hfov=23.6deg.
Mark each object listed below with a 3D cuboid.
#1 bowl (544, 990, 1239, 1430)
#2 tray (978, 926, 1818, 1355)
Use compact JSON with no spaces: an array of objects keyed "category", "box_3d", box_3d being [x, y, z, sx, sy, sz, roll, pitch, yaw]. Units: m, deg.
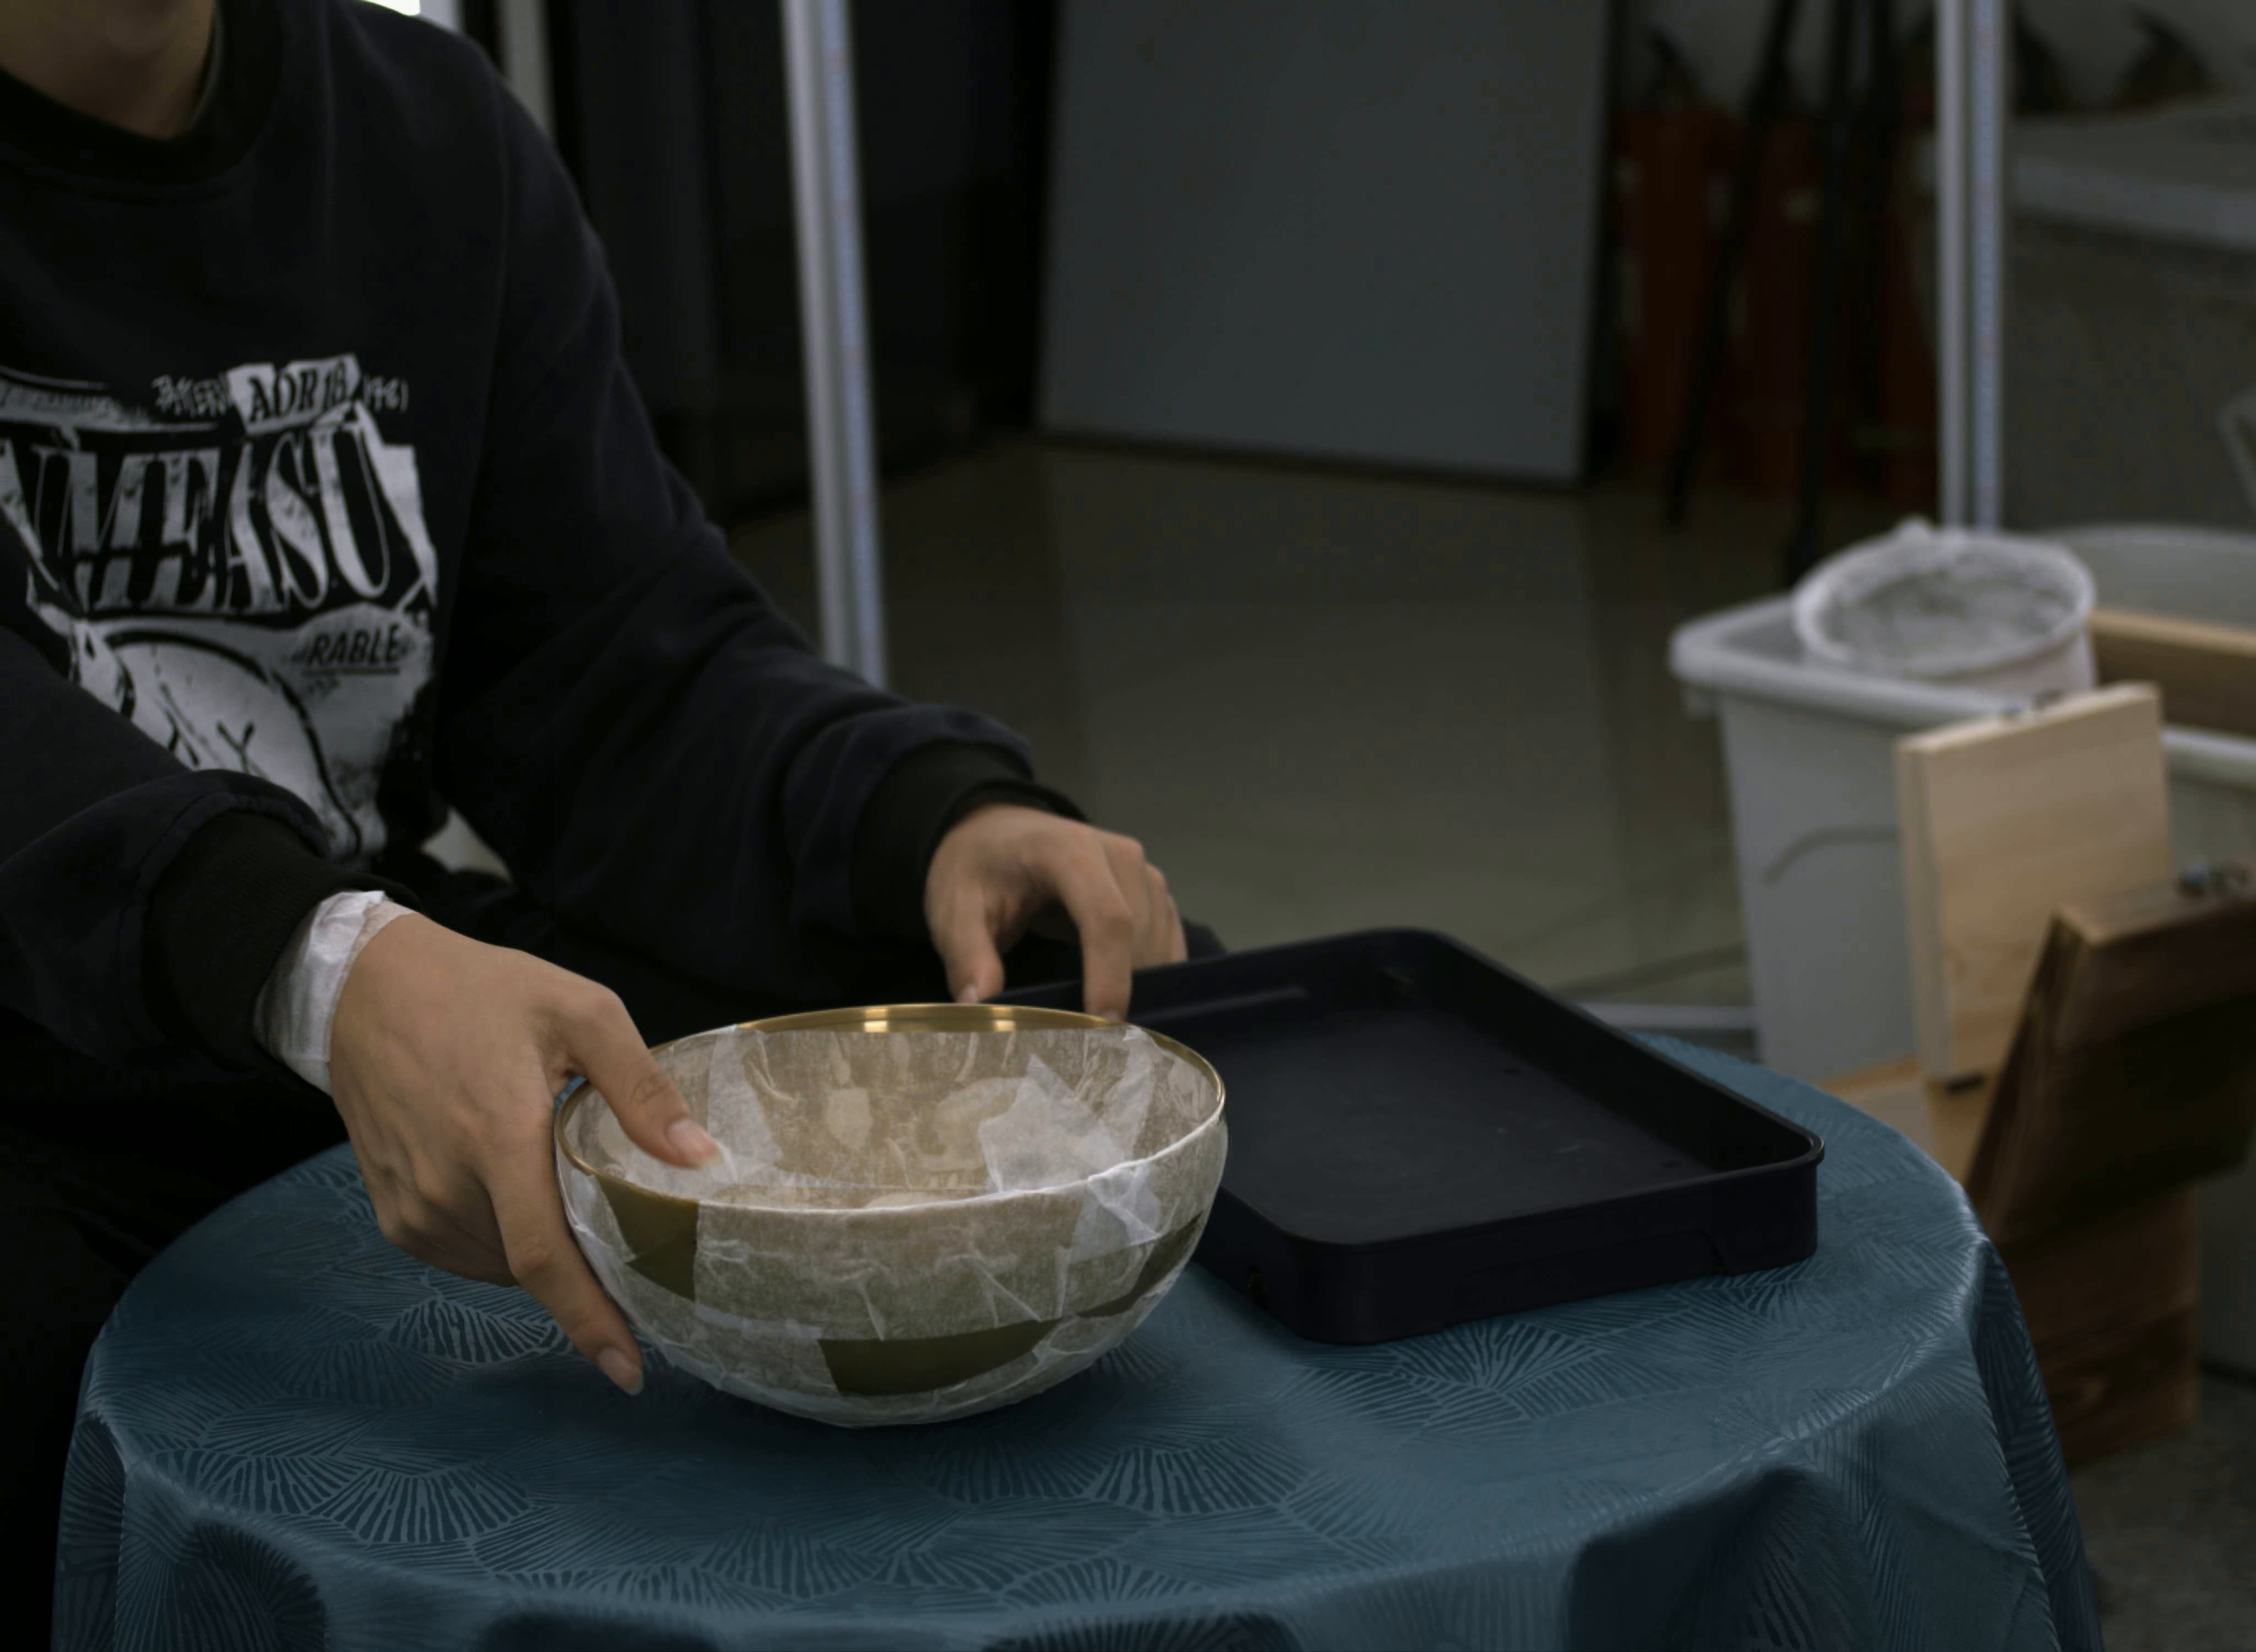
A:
[{"category":"bowl","box_3d":[-0.067,0.121,1.596,0.212,0.095,0.215,-4,15,0]},{"category":"tray","box_3d":[0.081,0.098,1.771,0.180,0.037,0.321,-9,16,-19]}]
